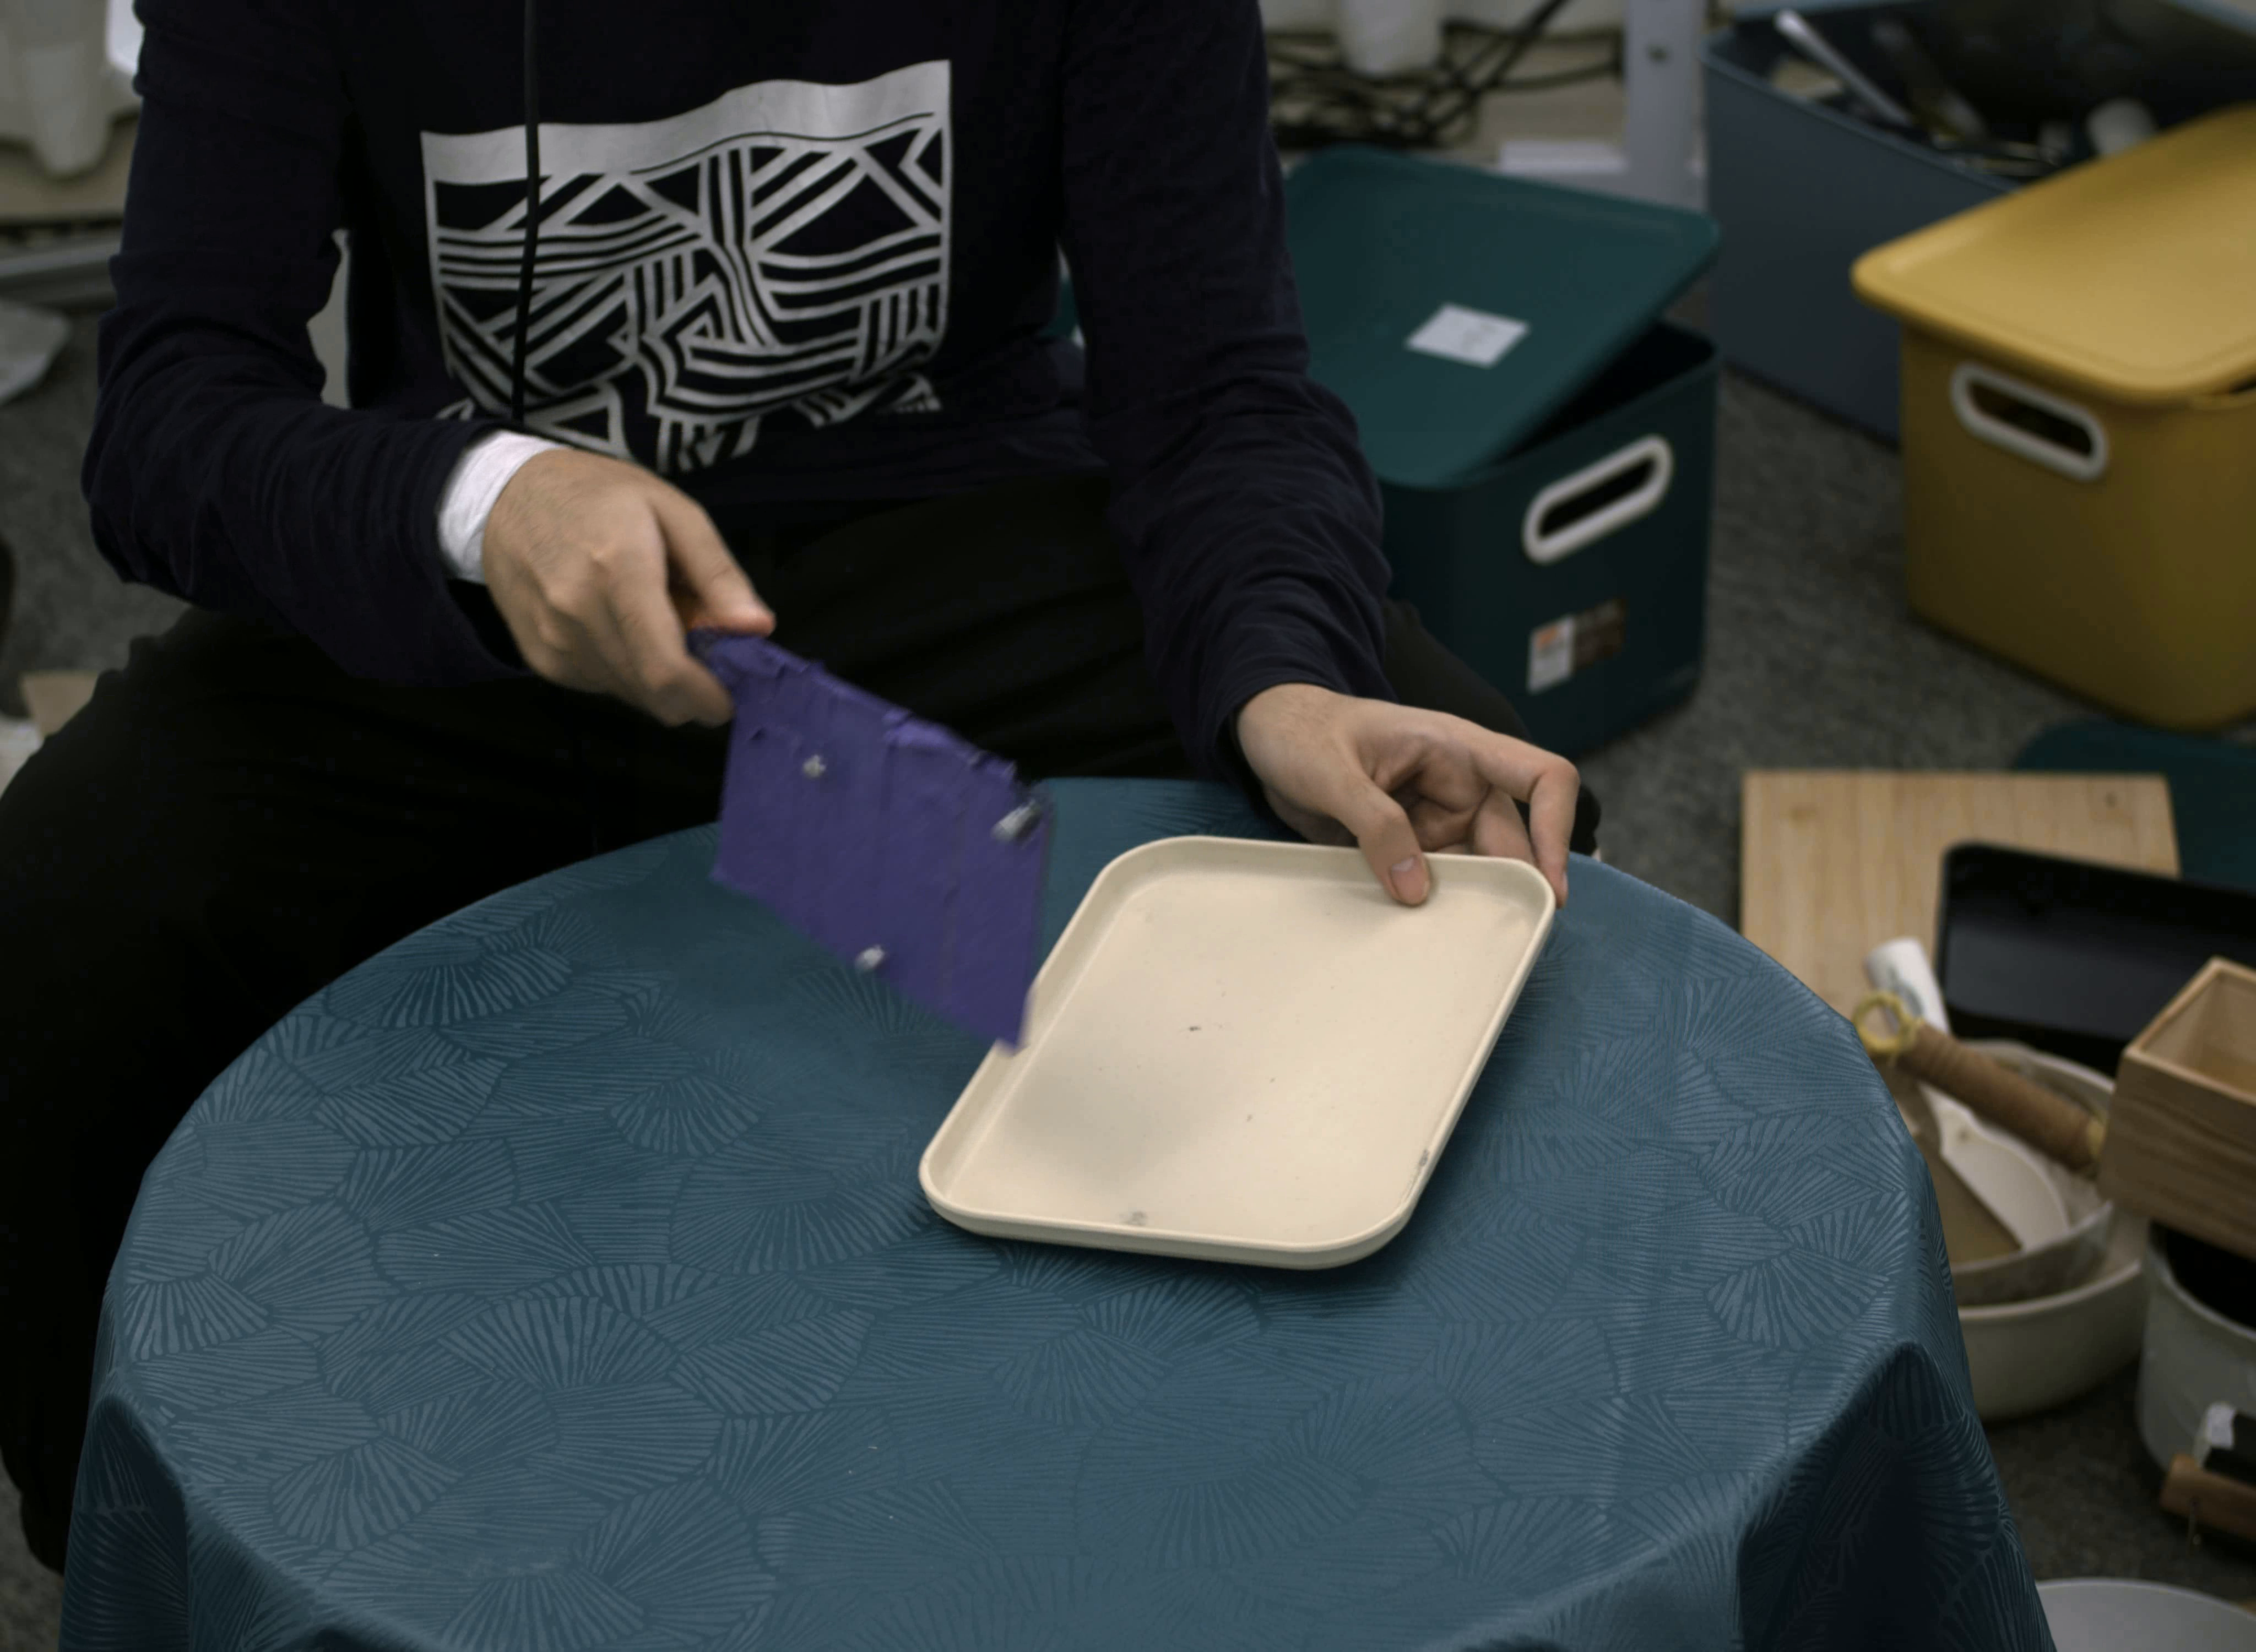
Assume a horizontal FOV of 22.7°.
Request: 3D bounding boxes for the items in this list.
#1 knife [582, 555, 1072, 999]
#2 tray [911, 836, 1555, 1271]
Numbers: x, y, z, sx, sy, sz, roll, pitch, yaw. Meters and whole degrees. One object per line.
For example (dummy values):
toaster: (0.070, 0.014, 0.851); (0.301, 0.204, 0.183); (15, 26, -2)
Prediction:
knife: (-0.108, -0.018, 1.925); (0.032, 0.103, 0.315); (0, 14, -32)
tray: (0.039, 0.076, 1.908); (0.170, 0.017, 0.244); (5, 32, 21)
